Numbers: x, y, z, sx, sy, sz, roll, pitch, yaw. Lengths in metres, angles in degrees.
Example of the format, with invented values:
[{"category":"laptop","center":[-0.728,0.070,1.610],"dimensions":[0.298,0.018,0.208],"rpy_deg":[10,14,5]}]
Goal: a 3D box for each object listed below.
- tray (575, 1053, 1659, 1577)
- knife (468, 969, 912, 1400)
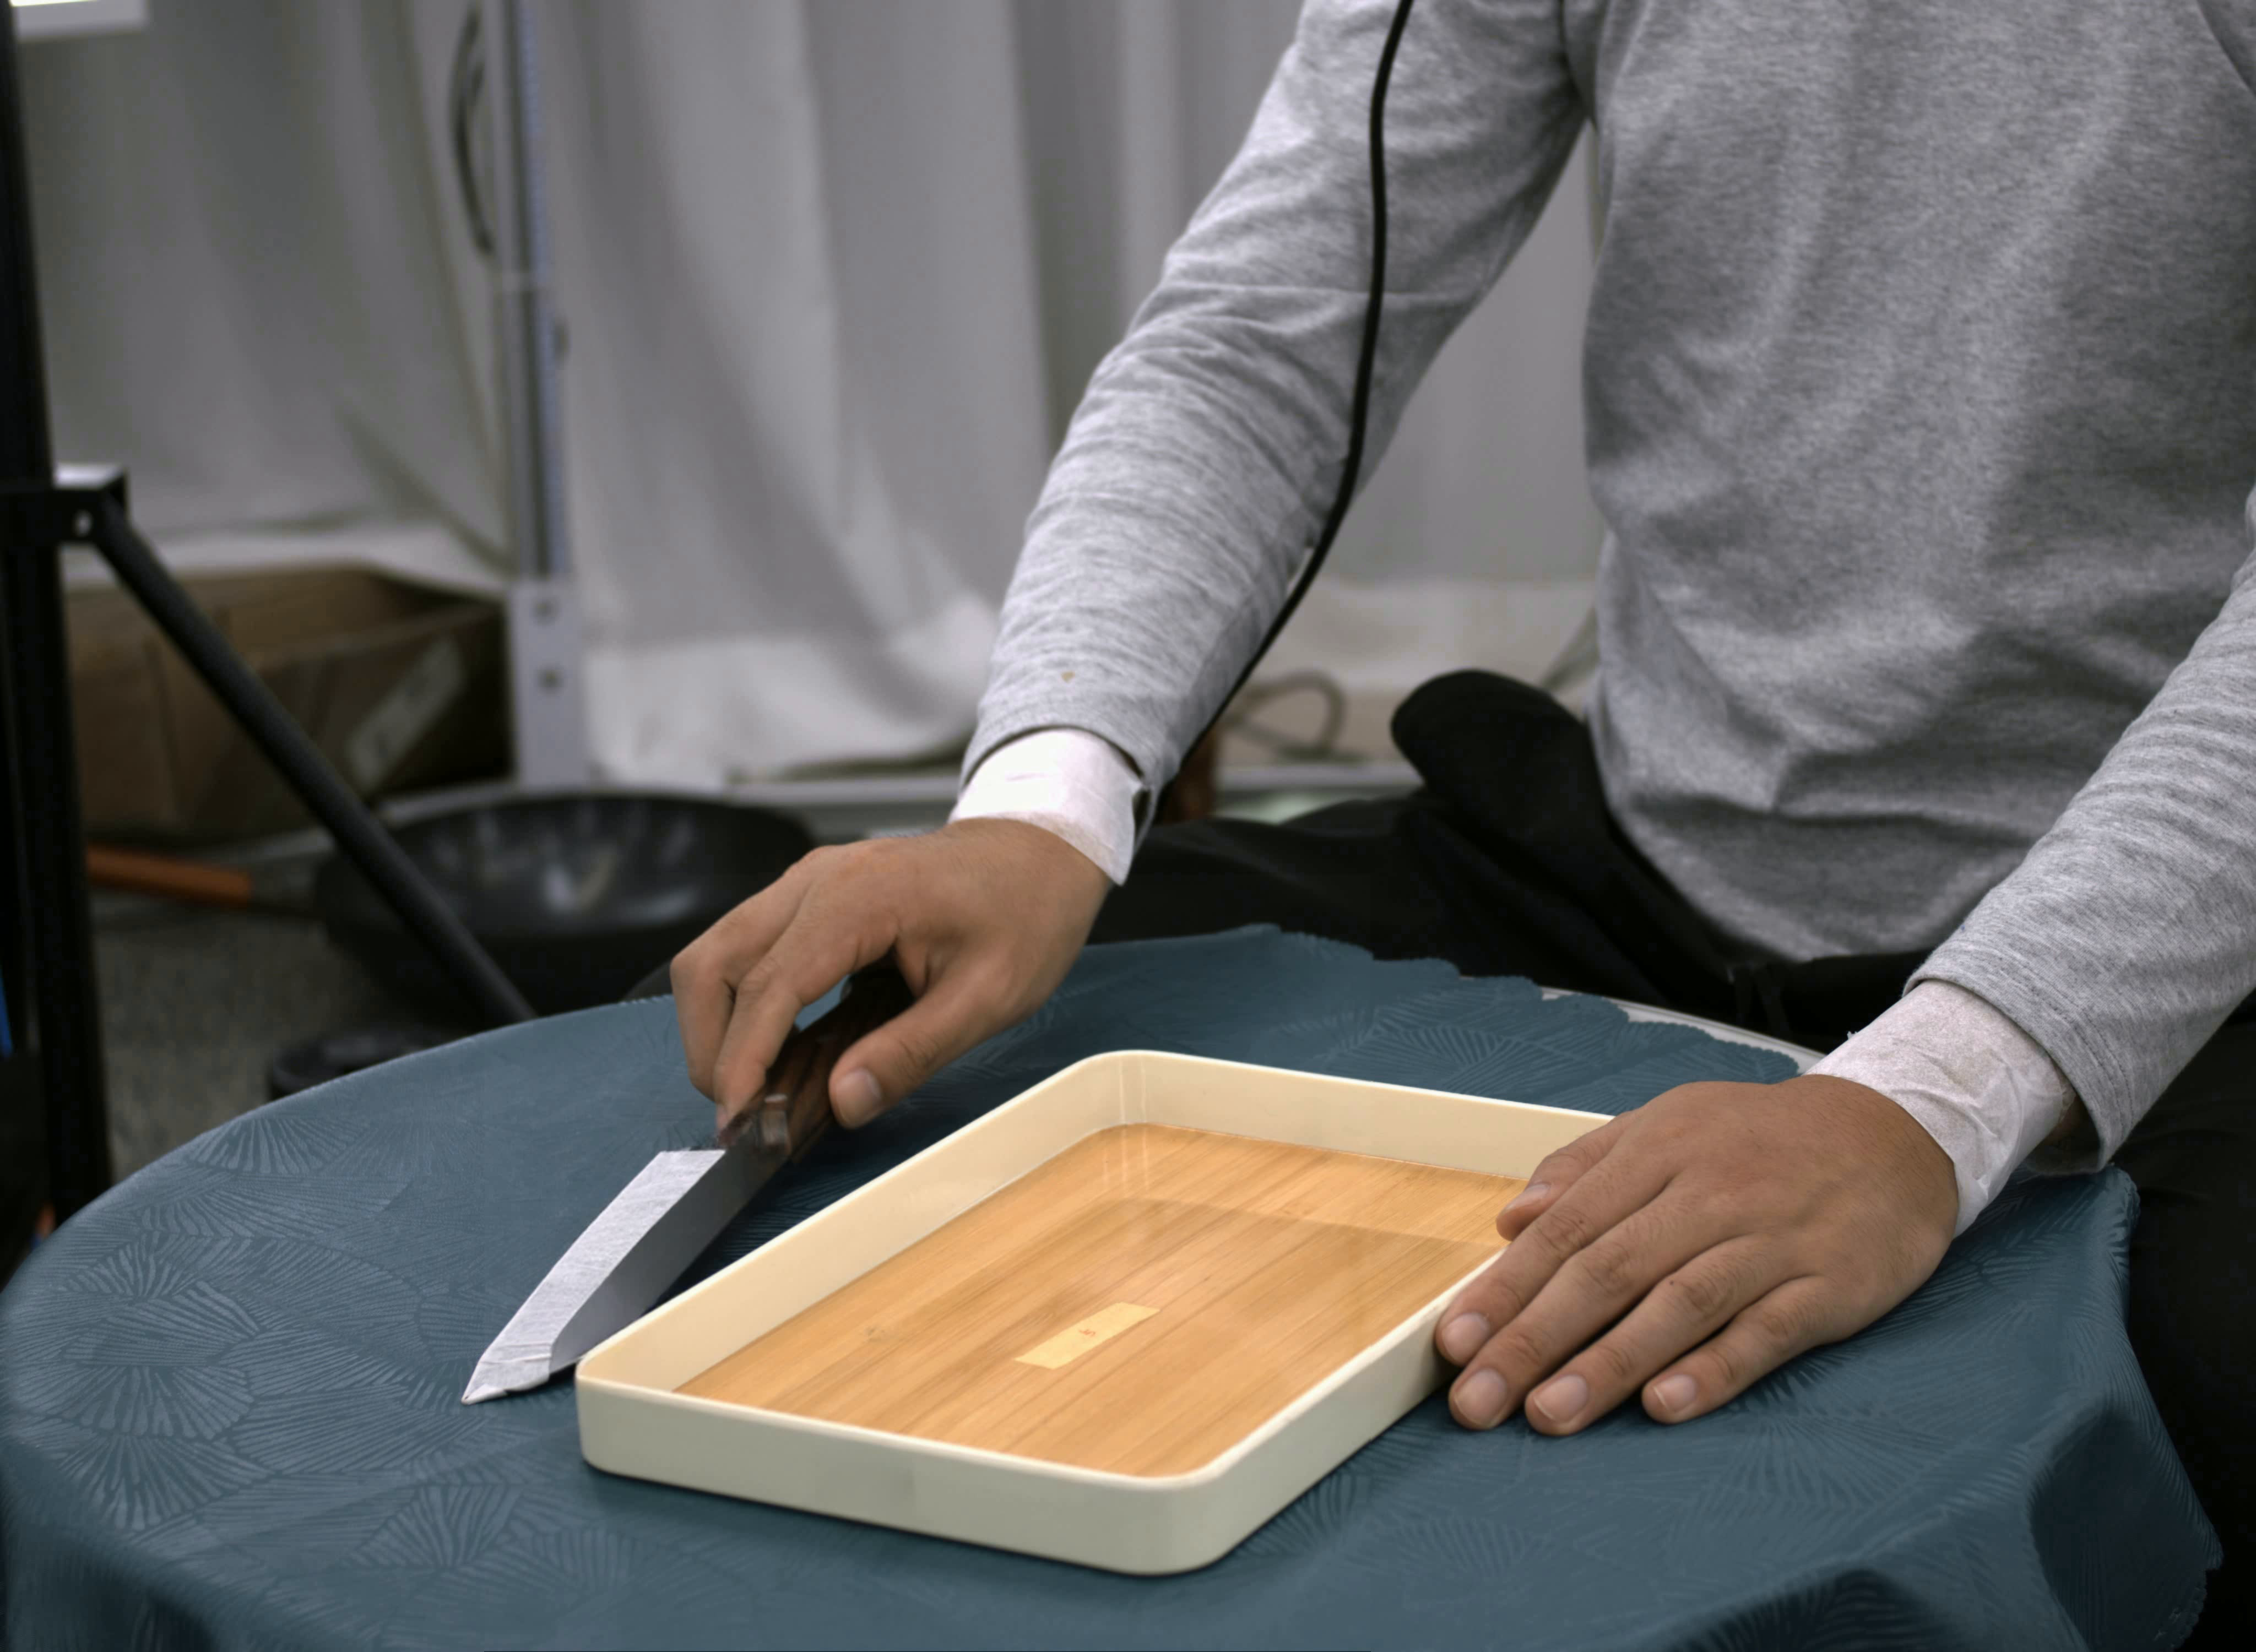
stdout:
[{"category":"tray","center":[0.005,0.127,1.448],"dimensions":[0.195,0.027,0.295],"rpy_deg":[7,18,29]},{"category":"knife","center":[-0.123,0.103,1.546],"dimensions":[0.051,0.020,0.286],"rpy_deg":[-6,19,23]}]
